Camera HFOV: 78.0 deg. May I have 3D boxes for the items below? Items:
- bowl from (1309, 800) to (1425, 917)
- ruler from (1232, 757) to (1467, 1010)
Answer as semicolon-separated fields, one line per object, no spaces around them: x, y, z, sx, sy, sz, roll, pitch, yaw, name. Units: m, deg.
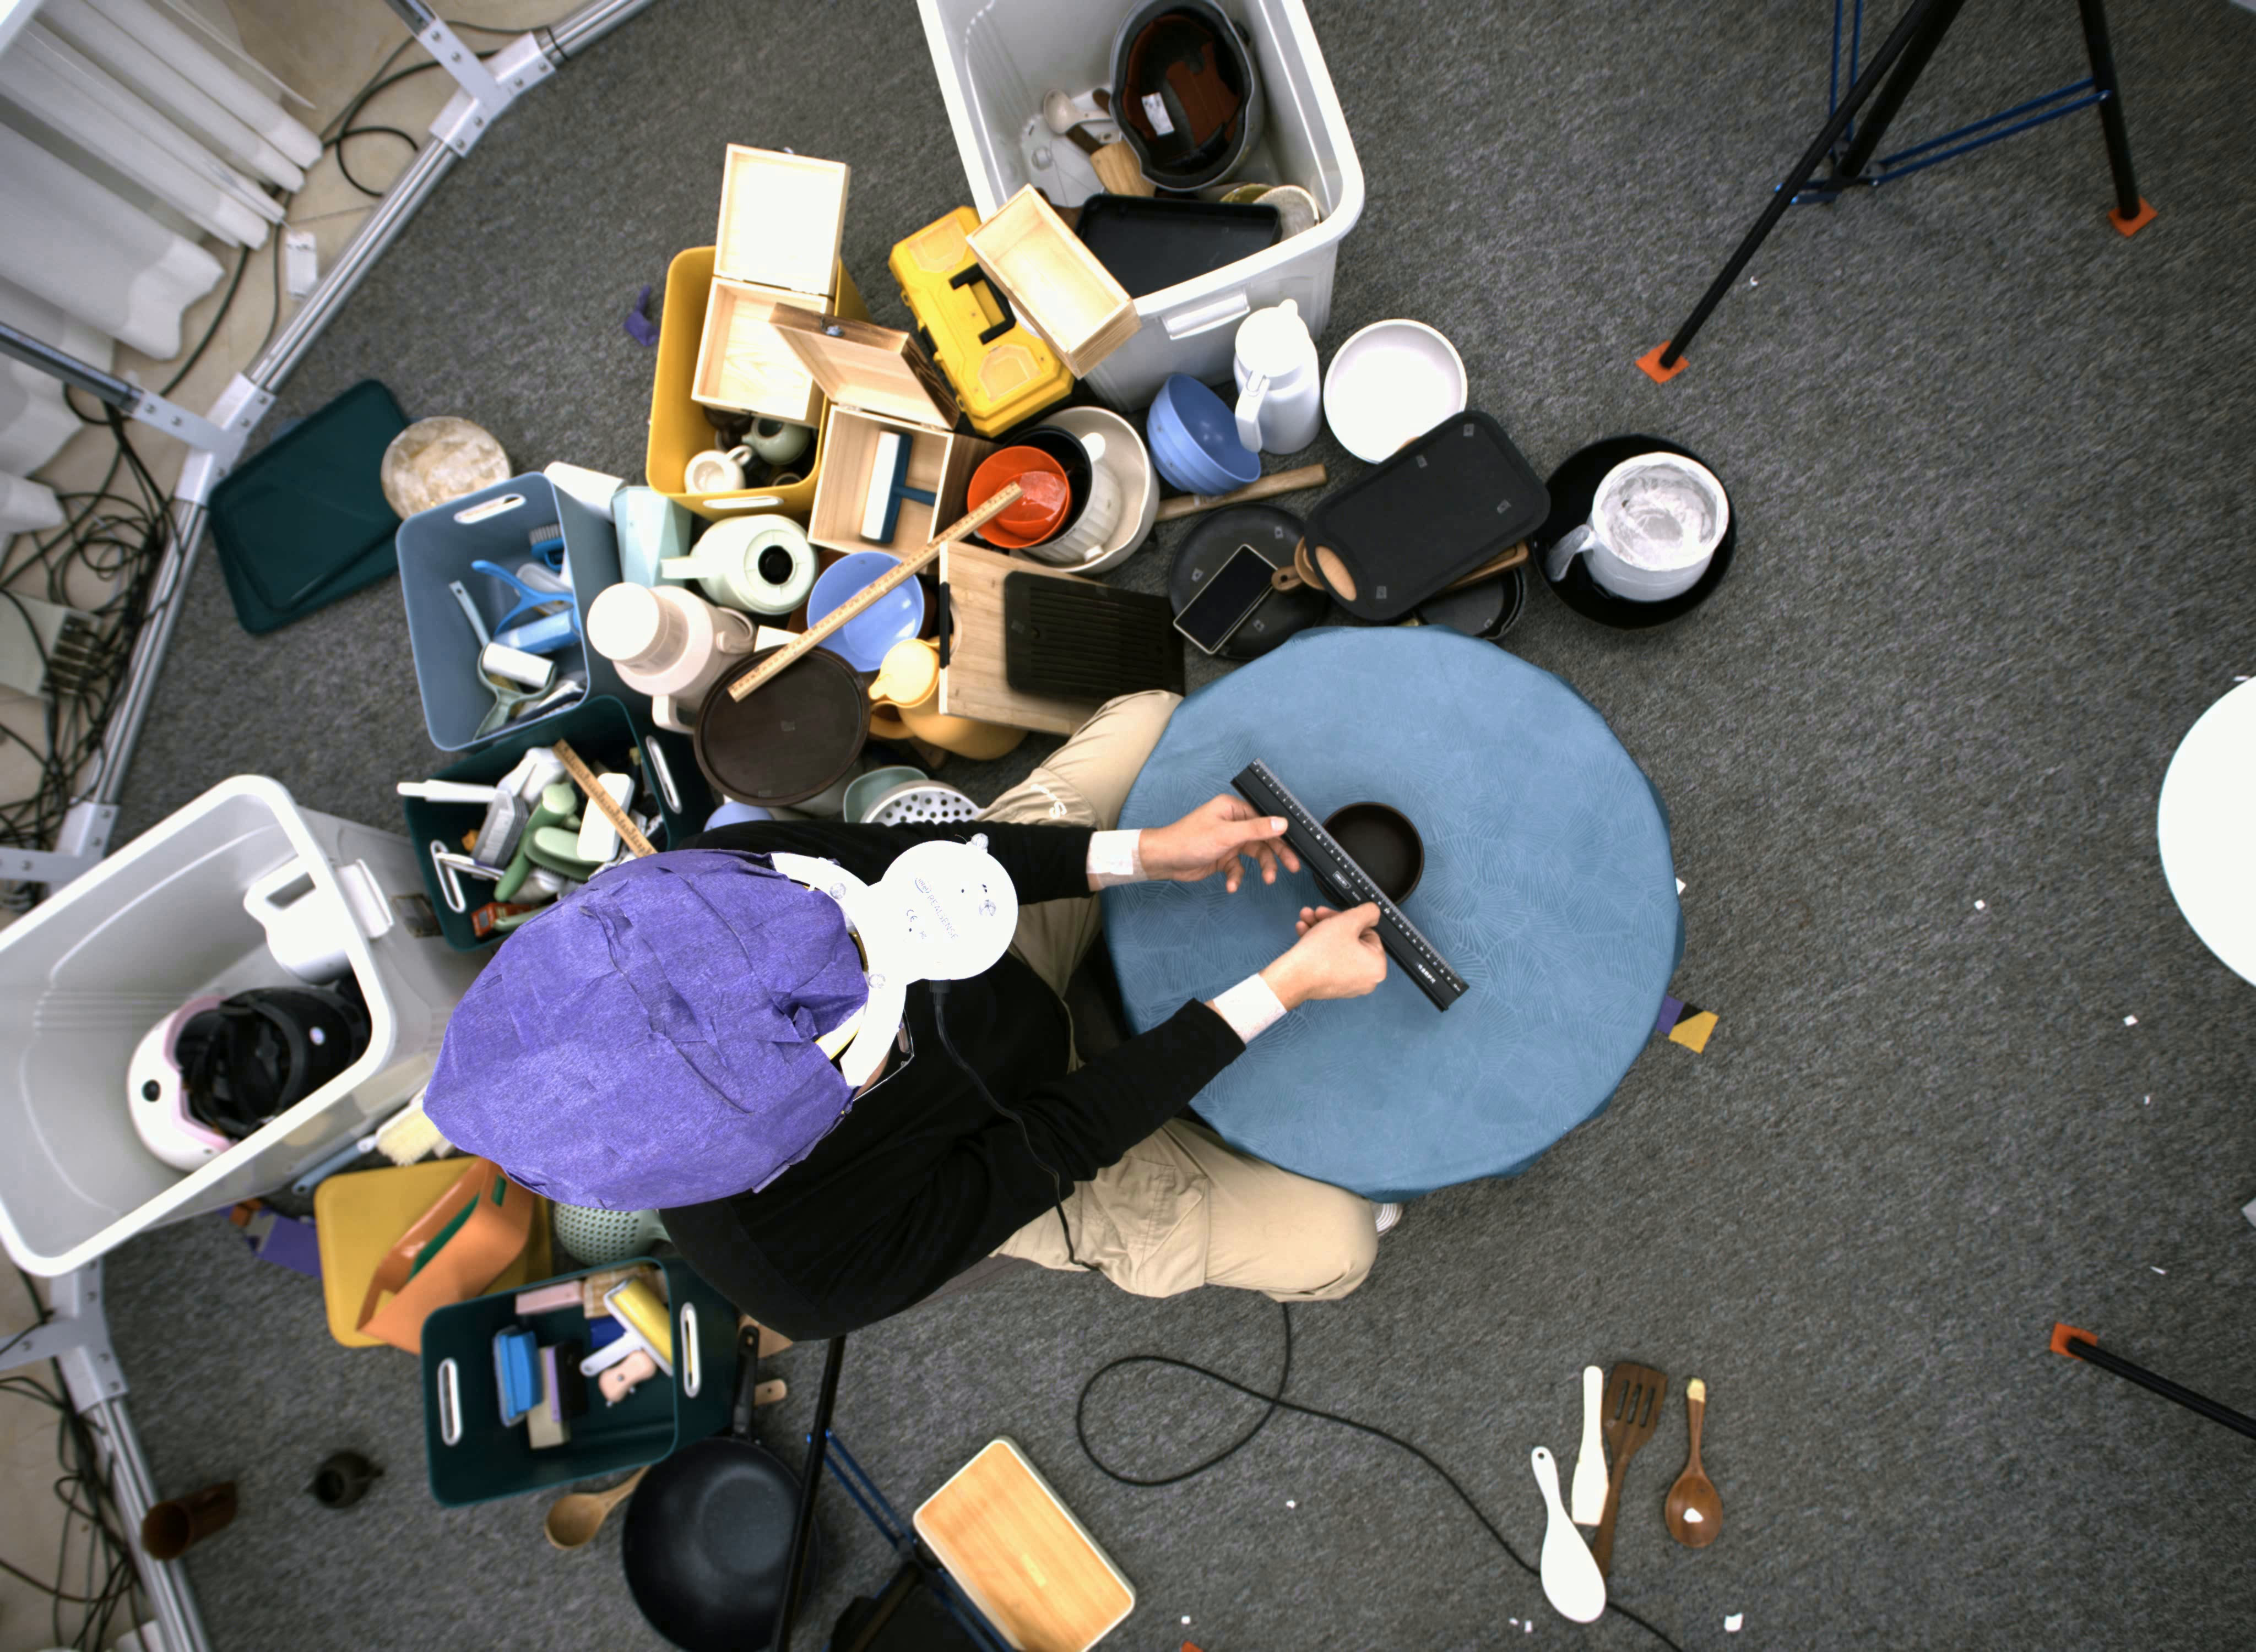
0.245;0.035;1.426;0.118;0.070;0.117;-1;83;5;bowl
0.221;0.056;1.373;0.039;0.017;0.312;-43;87;6;ruler
